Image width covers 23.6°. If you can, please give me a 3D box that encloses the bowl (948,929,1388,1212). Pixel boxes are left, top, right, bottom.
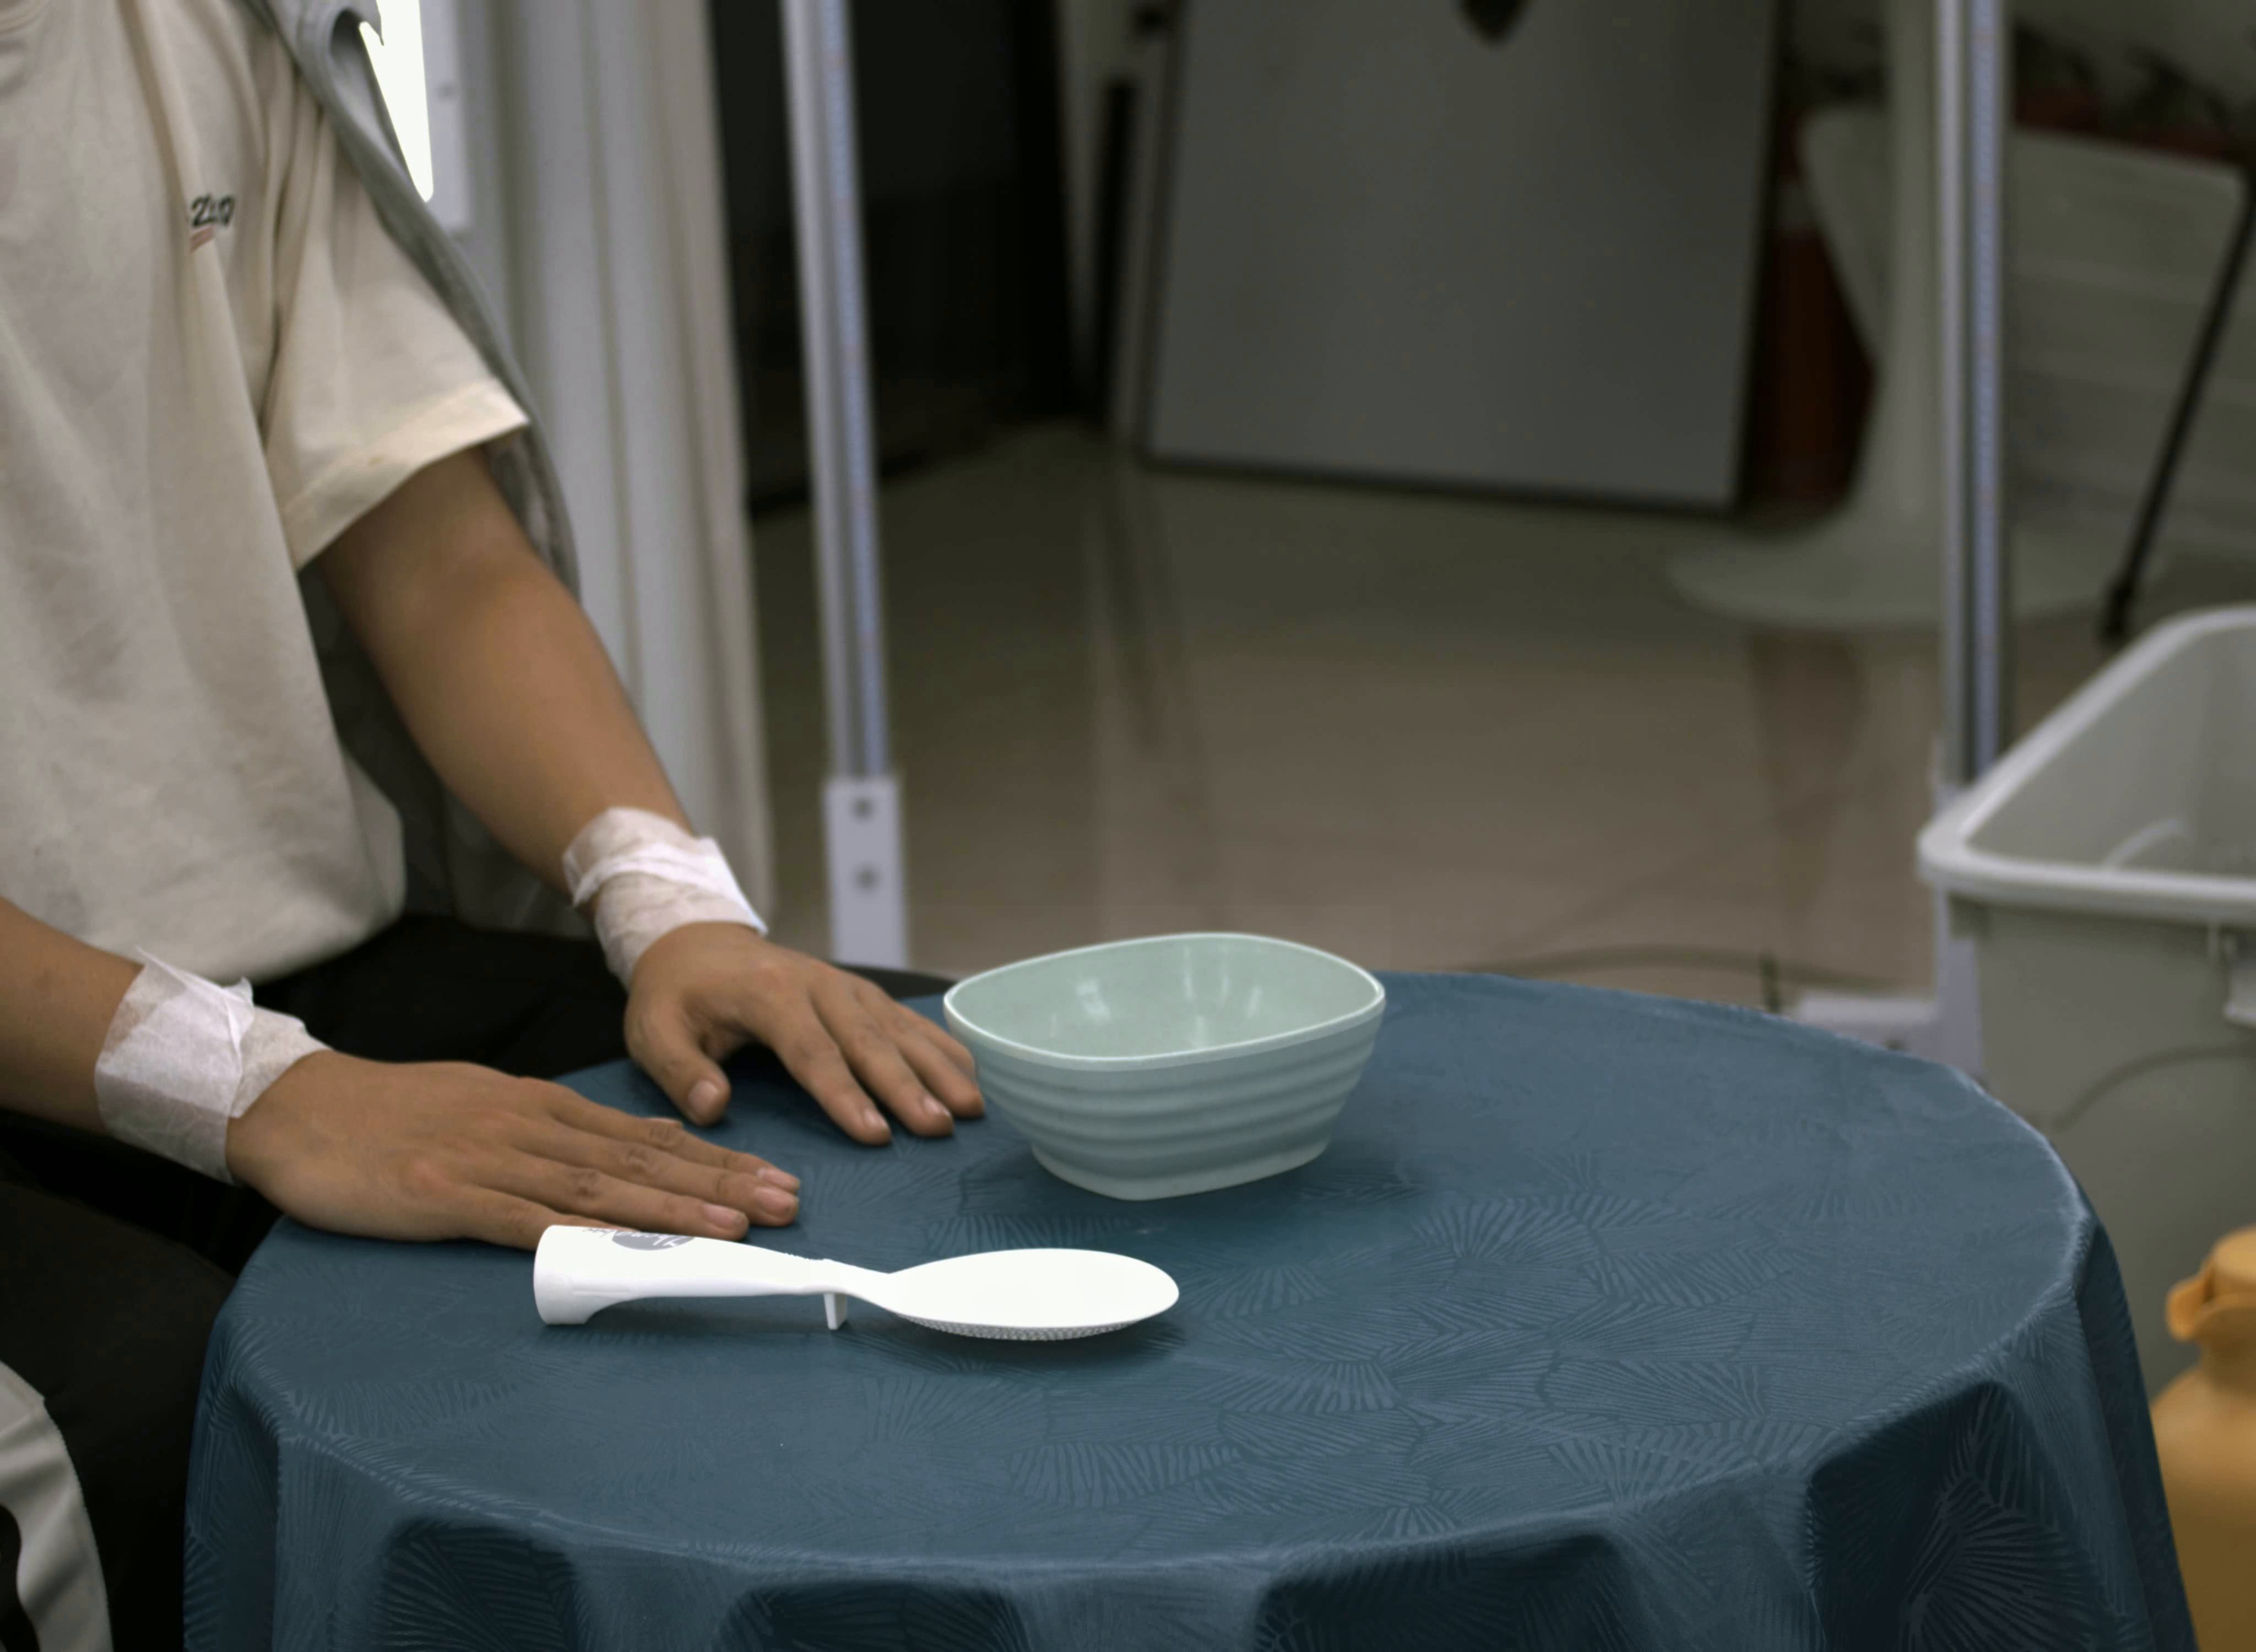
[{"bbox_3d":[0.014,0.085,1.802,0.149,0.059,0.152,-3,16,0],"label":"bowl"}]

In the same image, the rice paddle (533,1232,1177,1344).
[{"bbox_3d":[-0.083,0.141,1.657,0.204,0.030,0.068,0,16,16],"label":"rice paddle"}]
